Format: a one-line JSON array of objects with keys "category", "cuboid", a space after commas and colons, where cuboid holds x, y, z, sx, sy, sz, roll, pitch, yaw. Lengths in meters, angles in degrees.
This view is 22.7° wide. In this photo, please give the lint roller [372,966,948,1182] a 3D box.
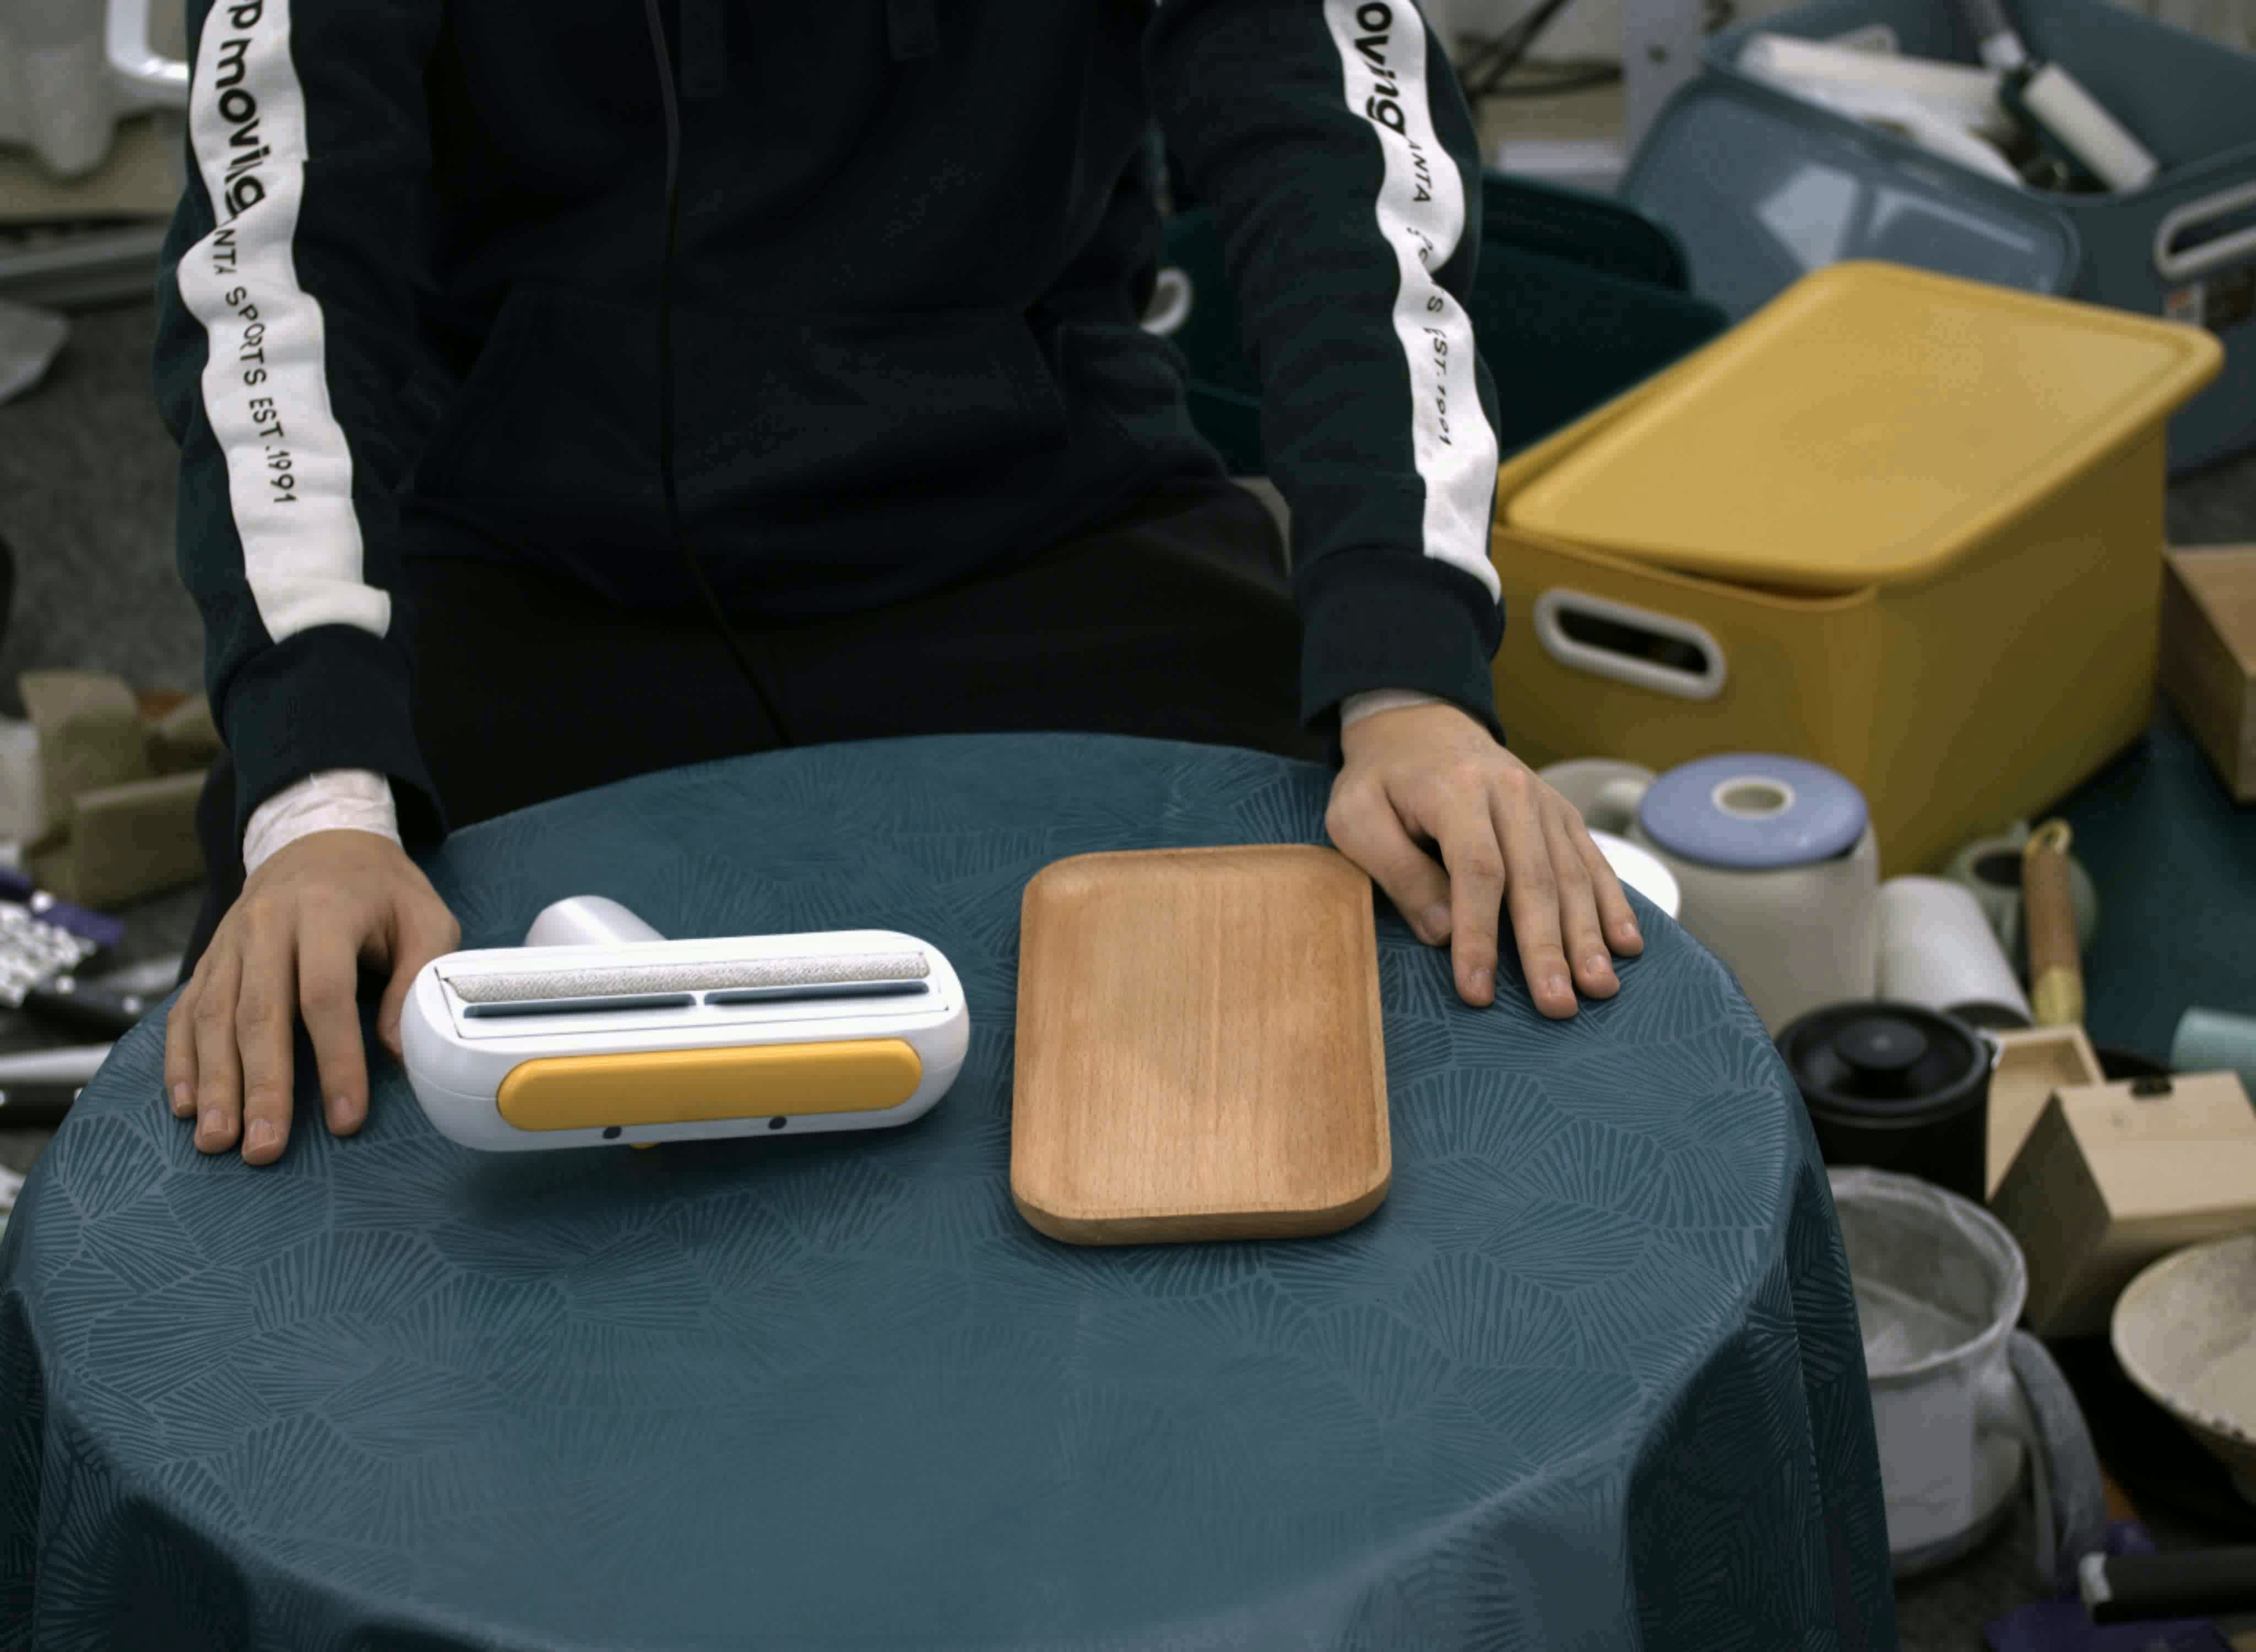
[{"category": "lint roller", "cuboid": [-0.170, 0.073, 1.937, 0.193, 0.074, 0.193, -3, 12, -14]}]

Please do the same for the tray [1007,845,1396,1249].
[{"category": "tray", "cuboid": [0.025, 0.073, 1.933, 0.130, 0.022, 0.254, 0, 27, 1]}]
